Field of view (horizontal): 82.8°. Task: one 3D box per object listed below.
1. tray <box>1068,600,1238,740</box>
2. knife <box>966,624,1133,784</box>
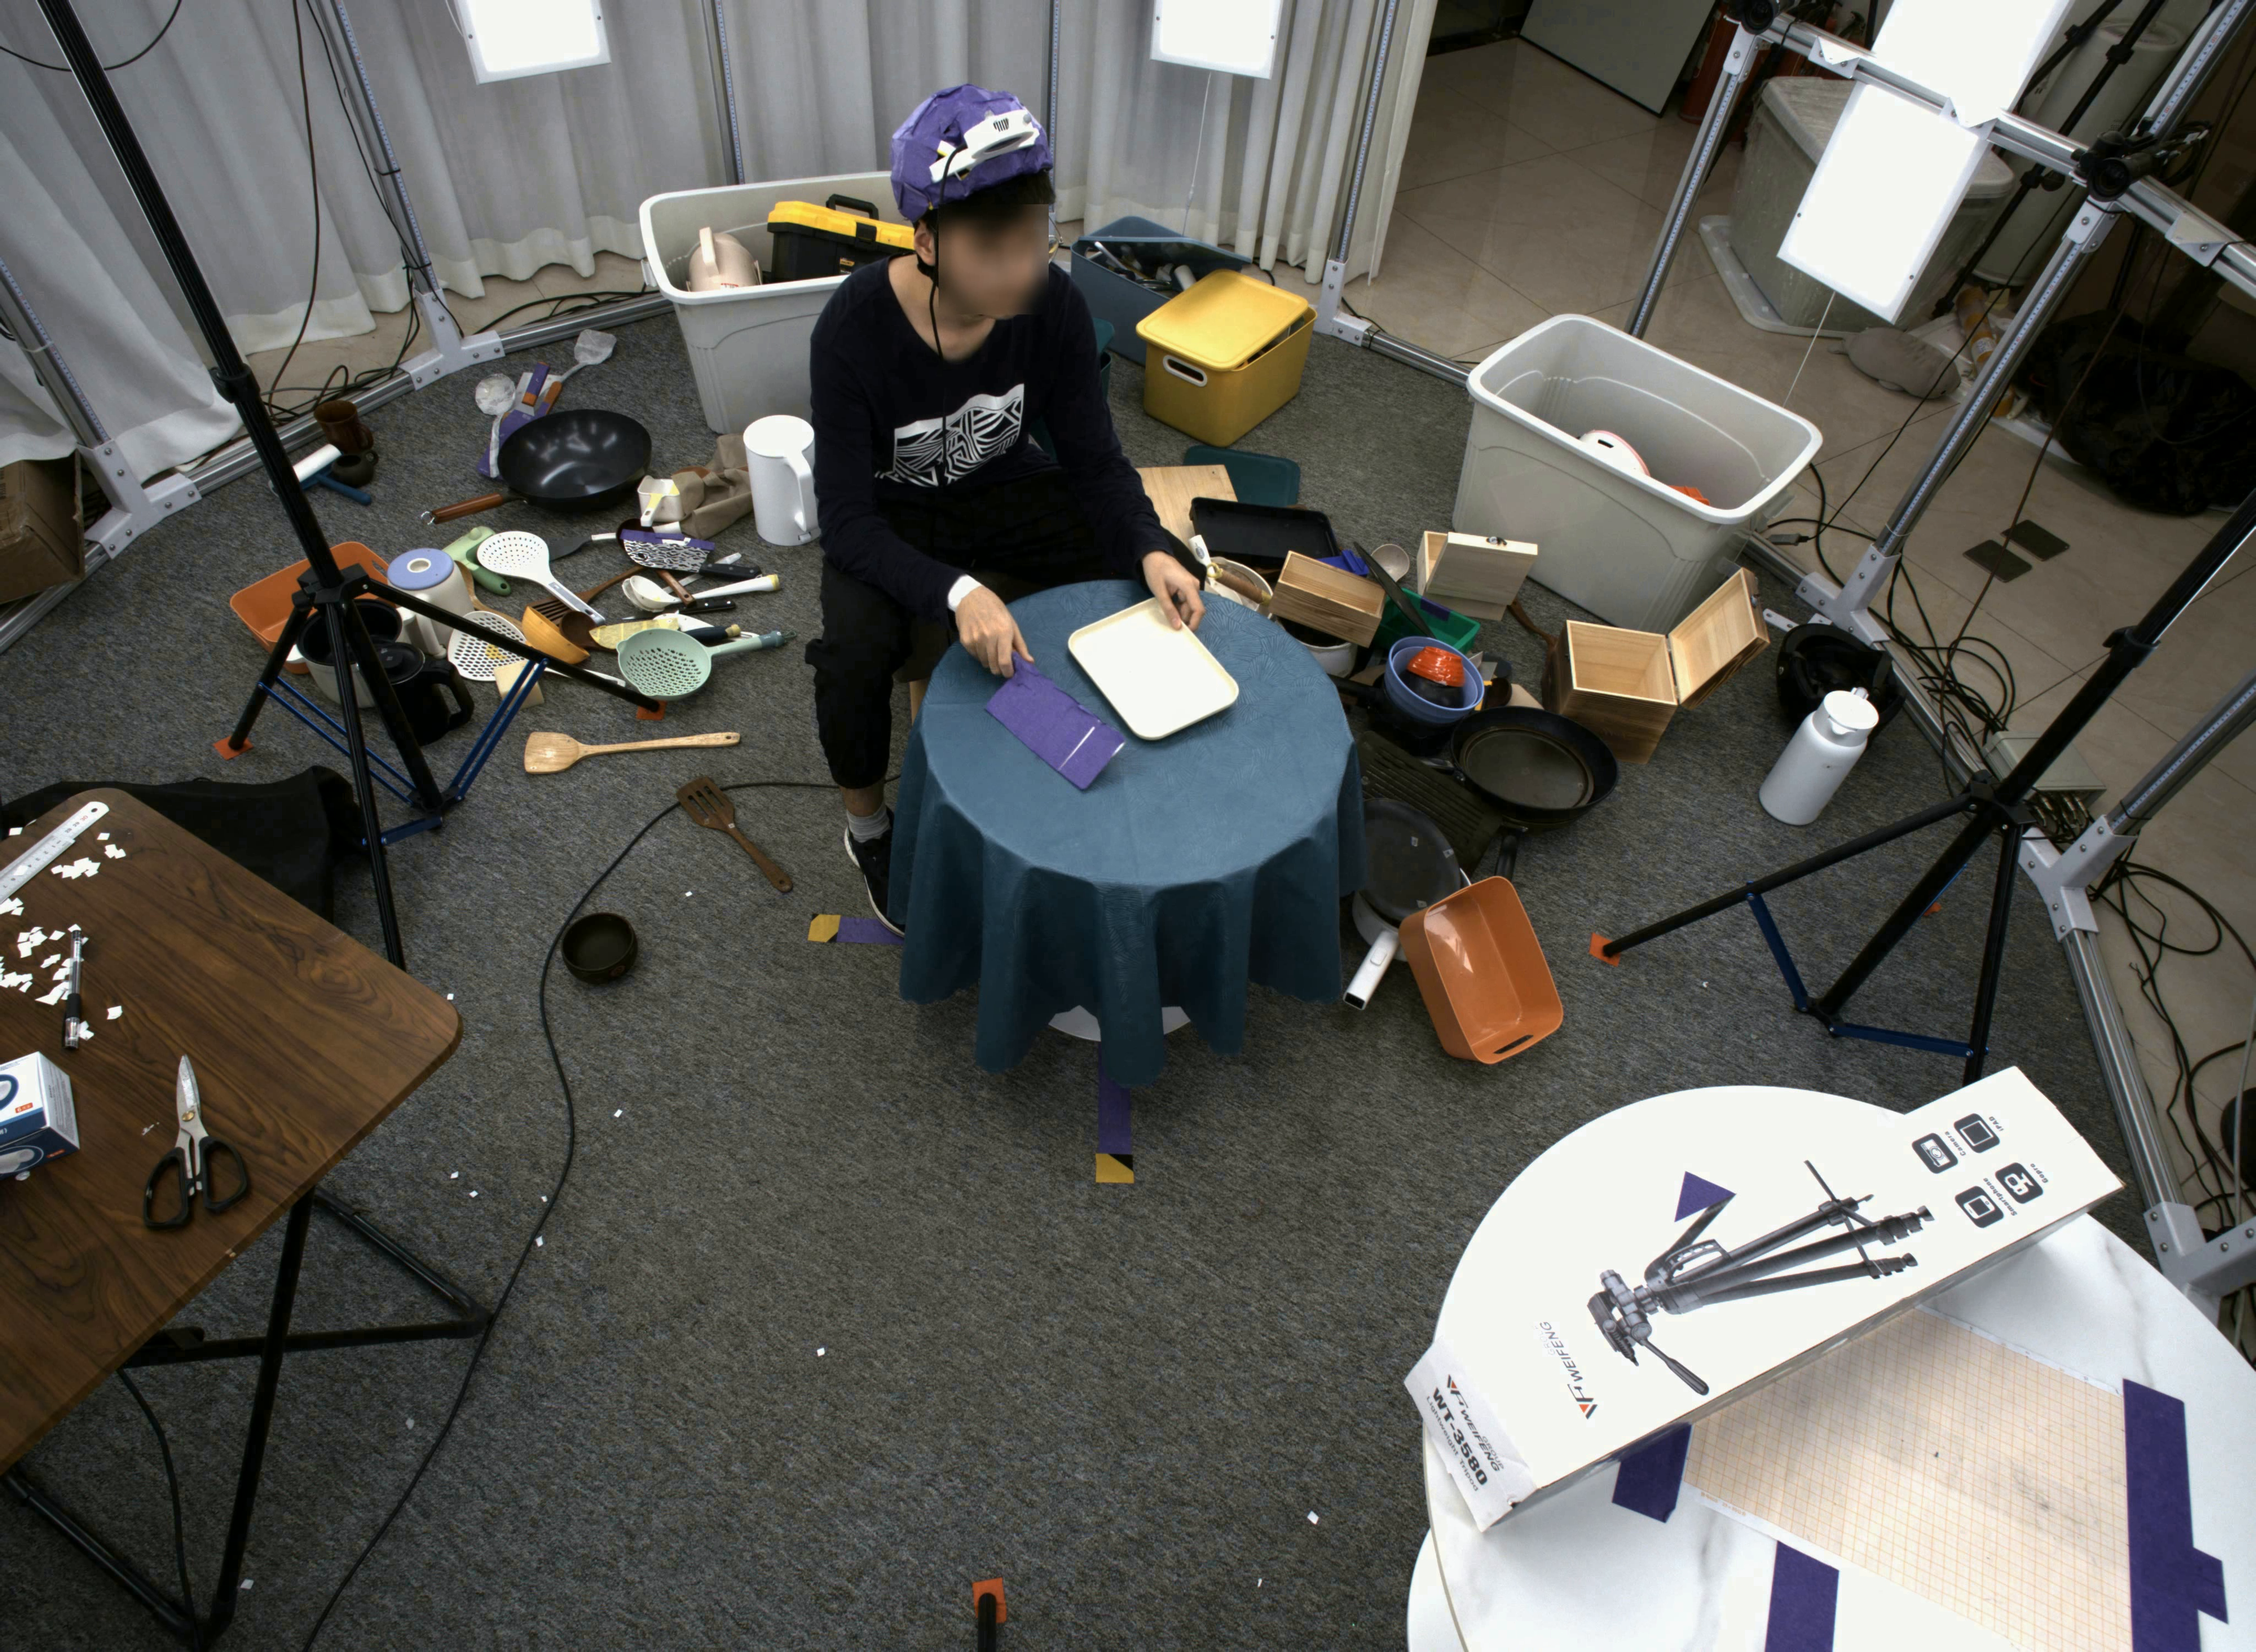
[{"bbox_3d":[0.034,-0.226,1.844,0.172,0.017,0.245,-26,56,-16],"label":"tray"},{"bbox_3d":[-0.134,-0.171,1.772,0.320,0.031,0.104,39,81,29],"label":"knife"}]
